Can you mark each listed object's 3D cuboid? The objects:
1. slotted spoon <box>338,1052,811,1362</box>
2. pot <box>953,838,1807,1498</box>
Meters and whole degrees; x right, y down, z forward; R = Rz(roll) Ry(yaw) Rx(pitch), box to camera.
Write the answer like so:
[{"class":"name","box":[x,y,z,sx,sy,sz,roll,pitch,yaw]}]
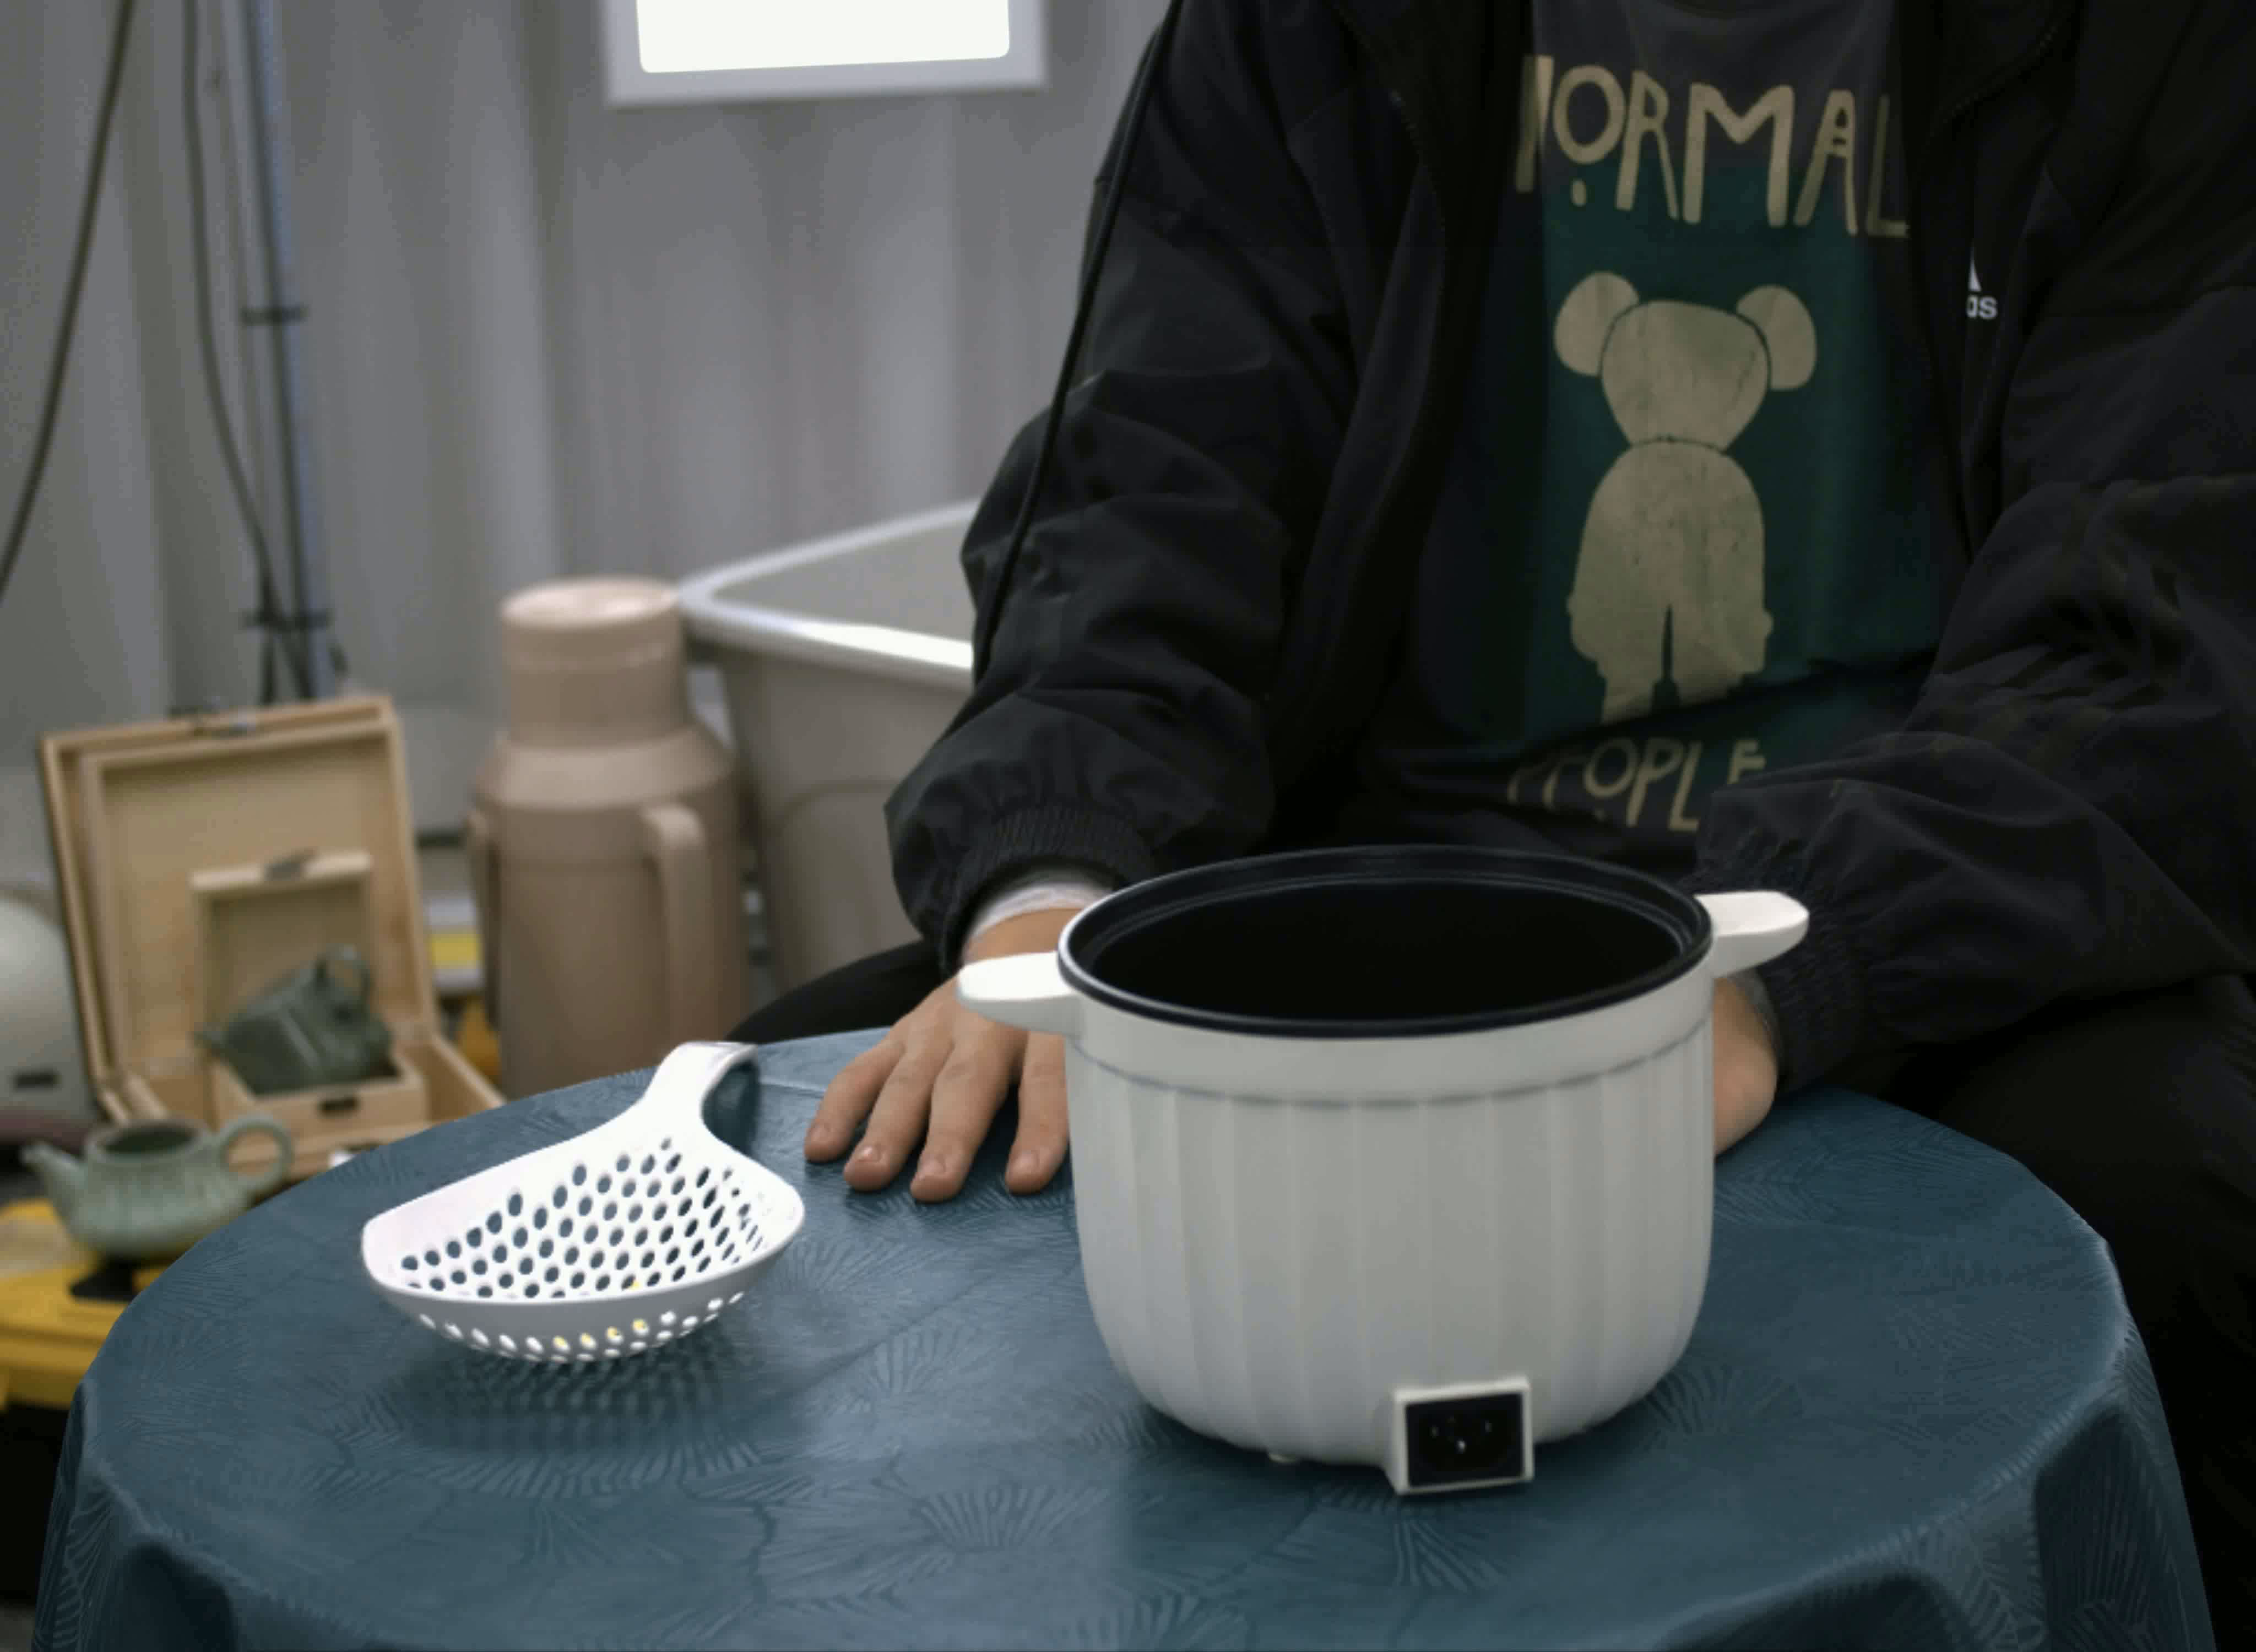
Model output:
[{"class":"slotted spoon","box":[-0.149,0.104,1.701,0.136,0.050,0.350,-3,15,6]},{"class":"pot","box":[0.071,0.091,1.522,0.239,0.142,0.192,-4,17,-9]}]
